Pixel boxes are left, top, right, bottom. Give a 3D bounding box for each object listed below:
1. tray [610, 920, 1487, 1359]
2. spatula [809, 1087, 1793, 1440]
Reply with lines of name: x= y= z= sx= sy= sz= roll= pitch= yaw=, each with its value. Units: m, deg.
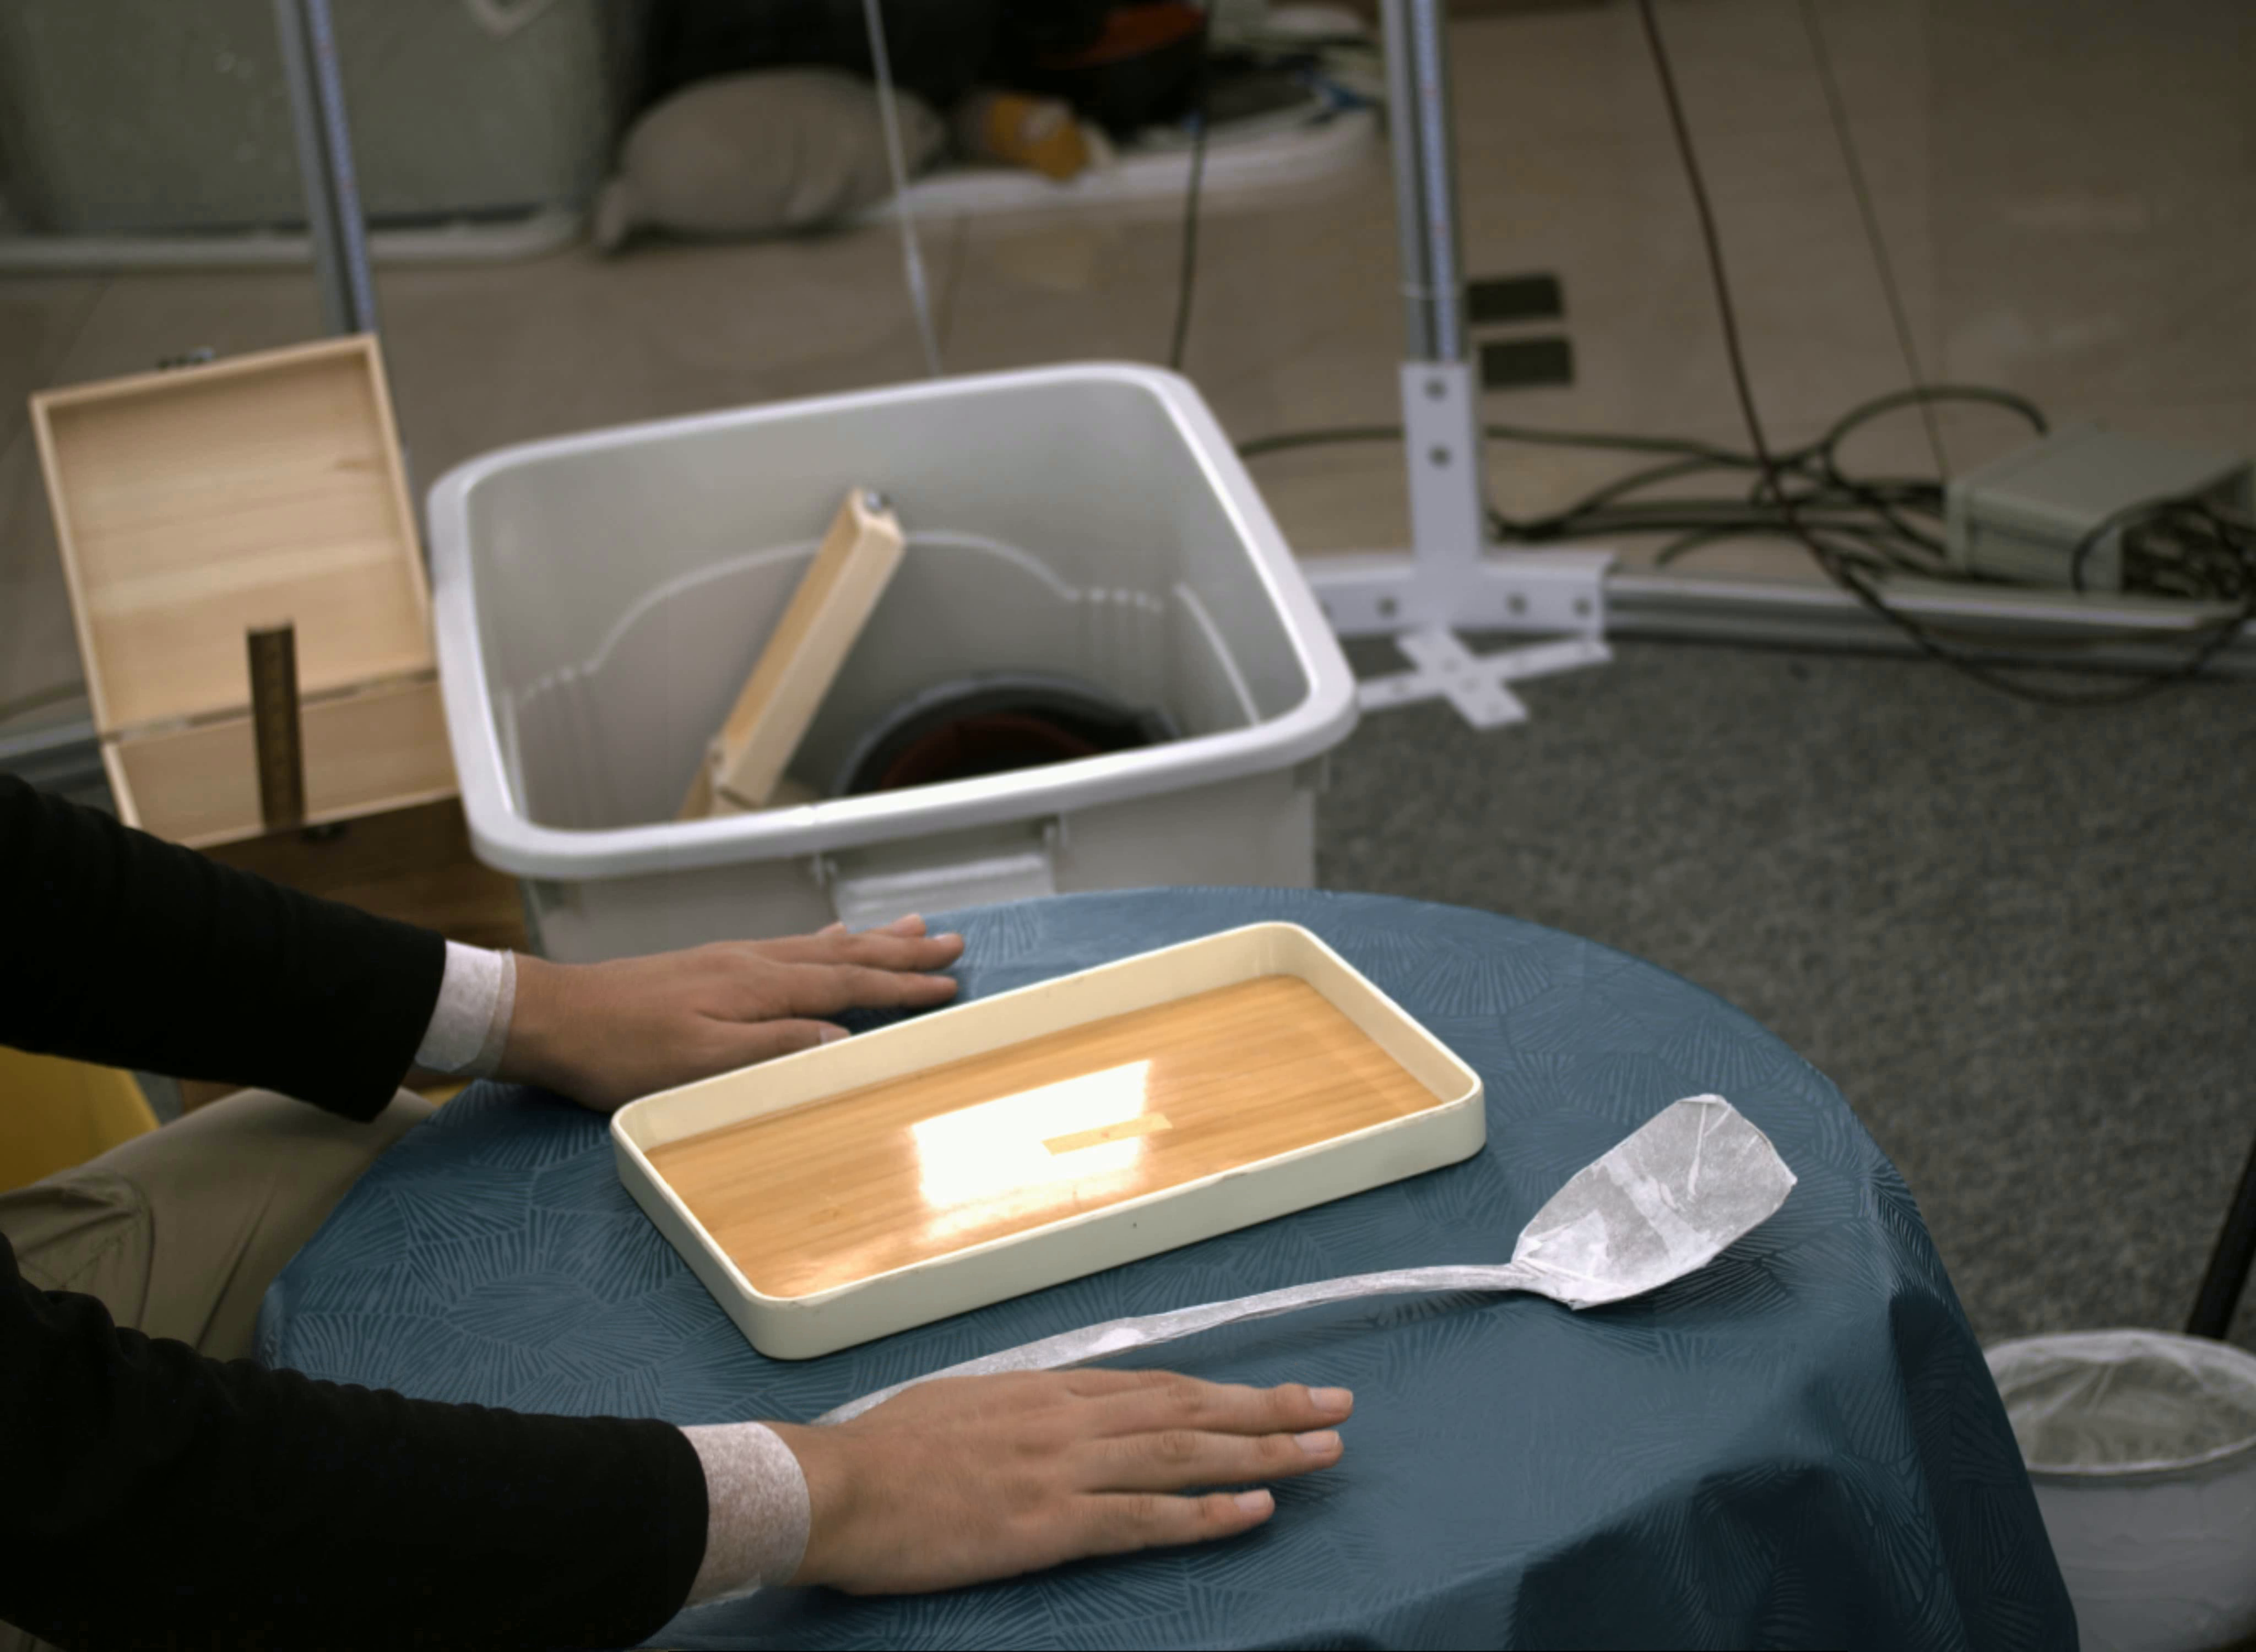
tray: x=-0.032 y=0.116 z=2.172 sx=0.299 sy=0.028 sz=0.189 roll=-15 pitch=26 yaw=-18
spatula: x=0.061 y=0.165 z=2.032 sx=0.364 sy=0.045 sz=0.097 roll=-12 pitch=26 yaw=-11
